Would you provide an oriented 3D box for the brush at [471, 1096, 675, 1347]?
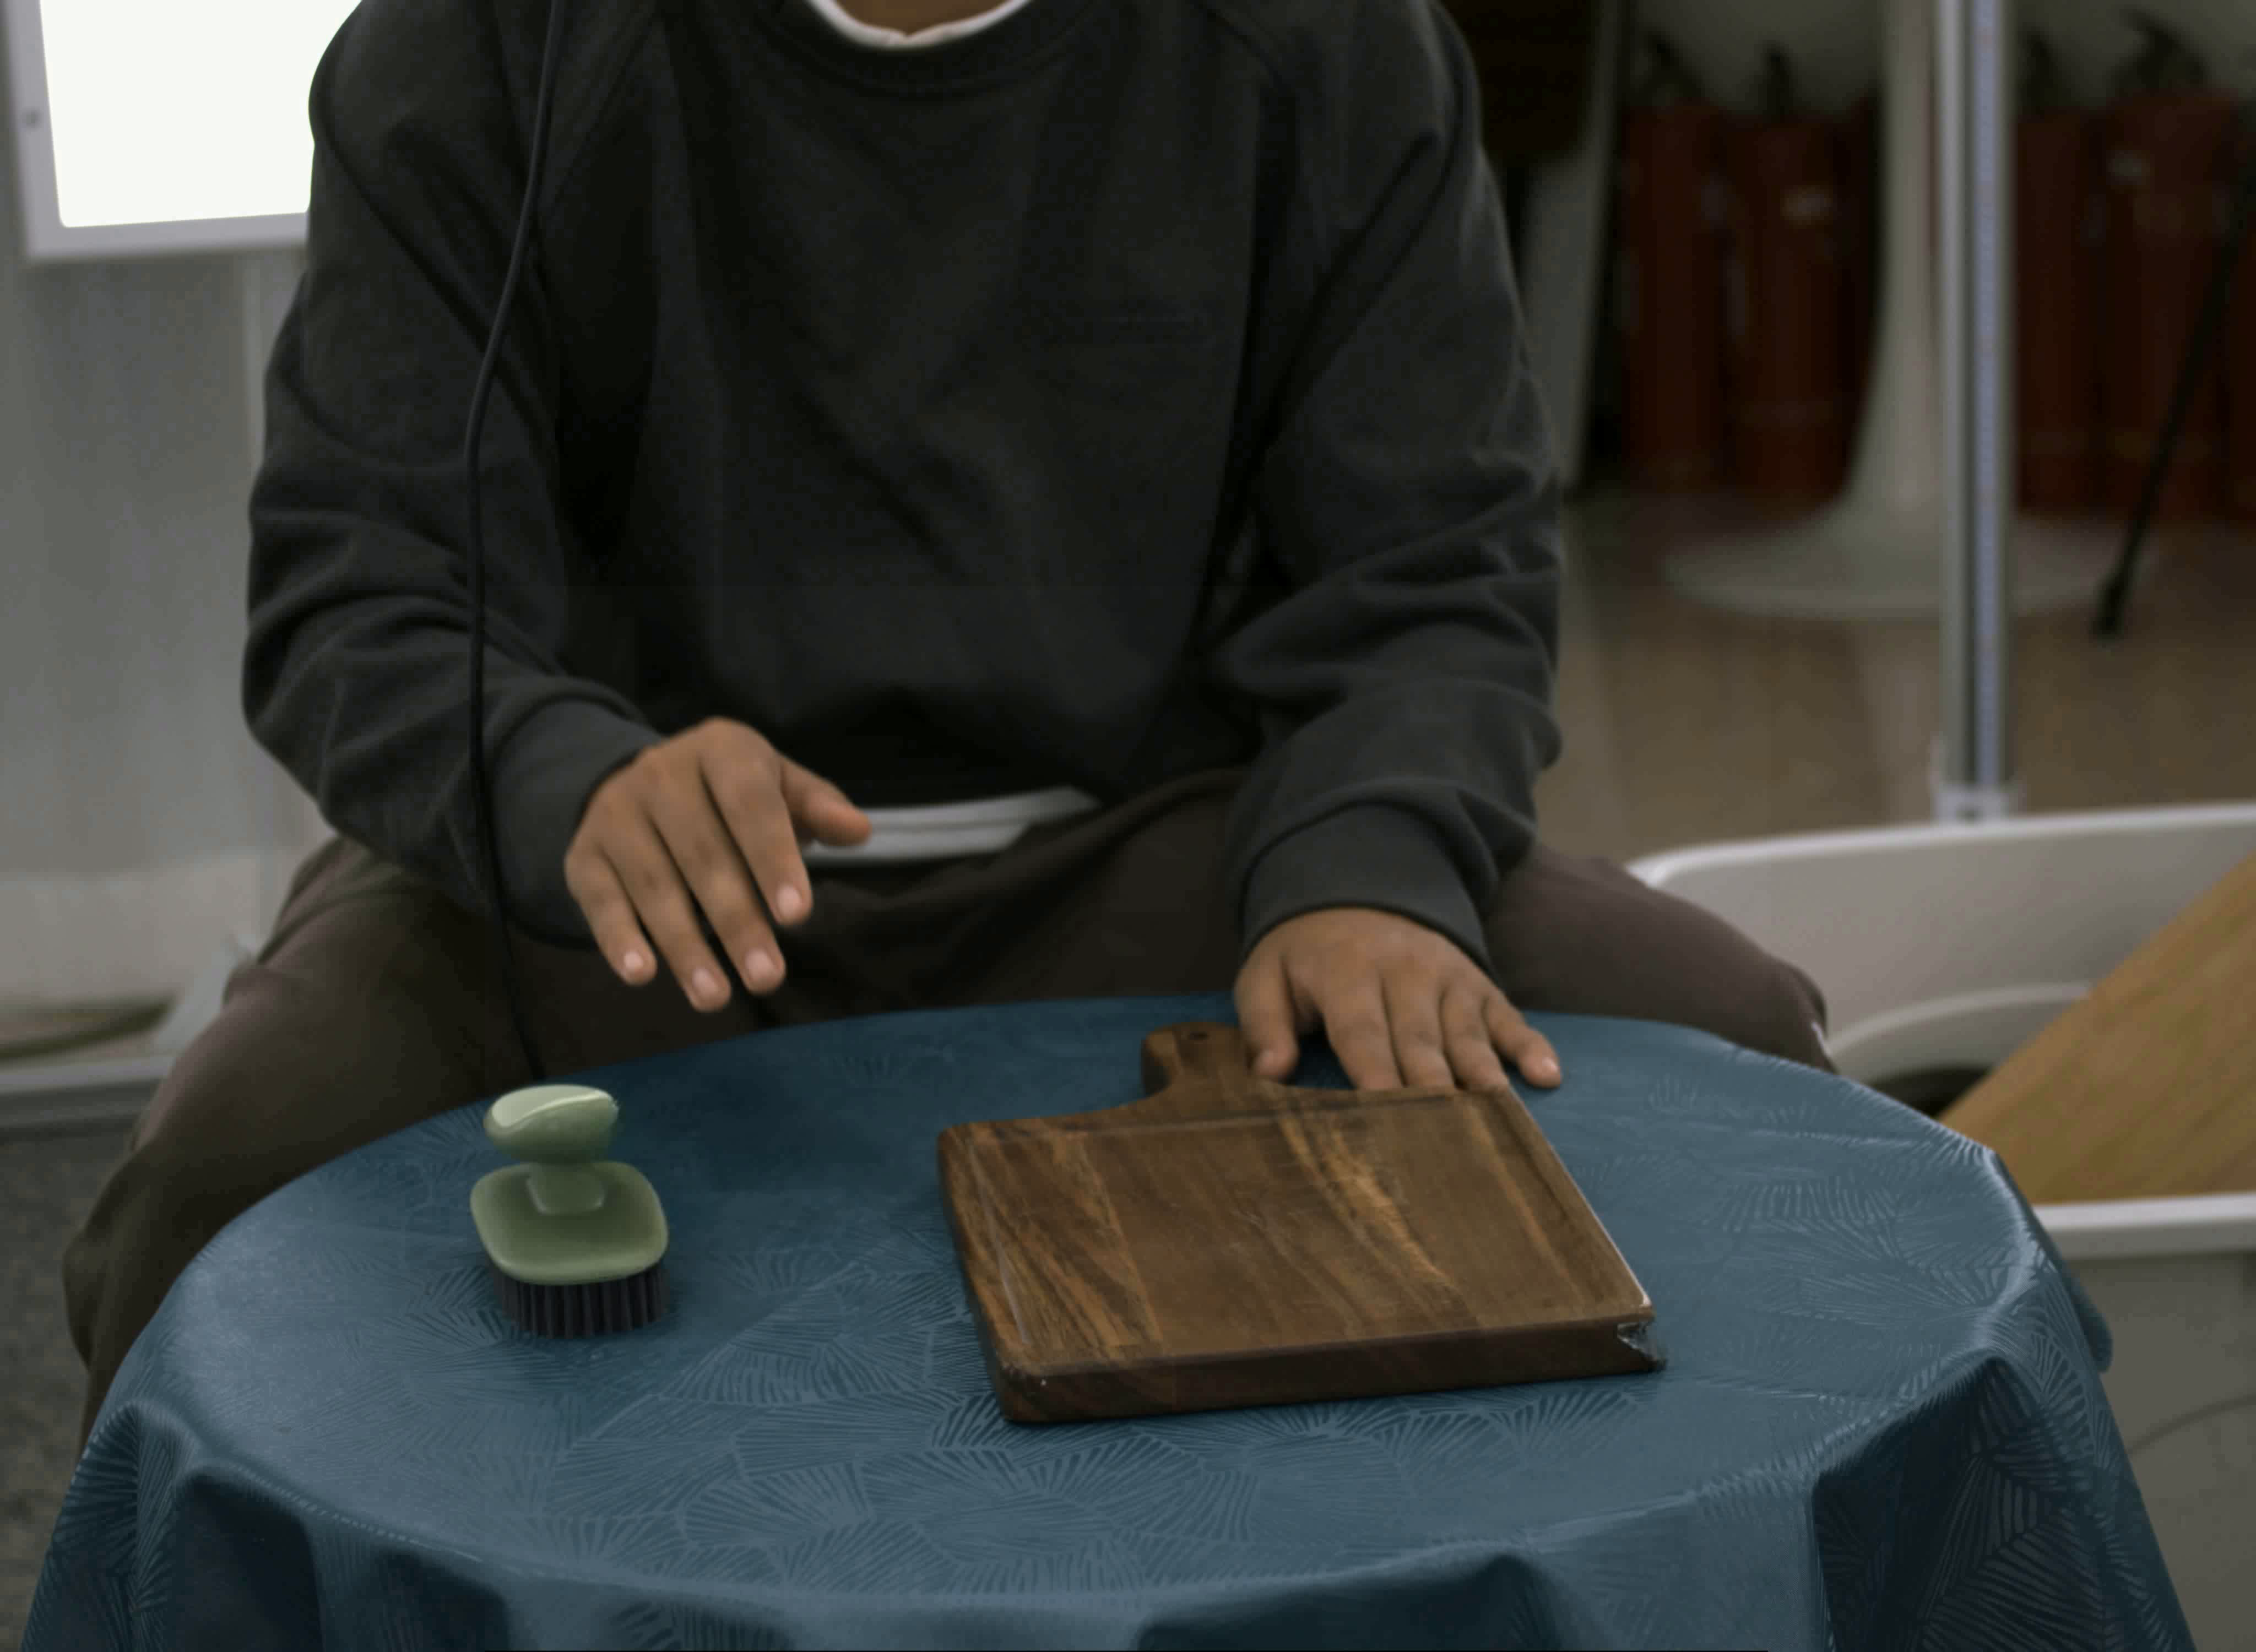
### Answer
[{"bbox_3d":[-0.176,0.123,1.710,0.058,0.077,0.123,-6,0,-13],"label":"brush"}]

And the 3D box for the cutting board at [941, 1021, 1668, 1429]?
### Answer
[{"bbox_3d":[0.043,0.118,1.730,0.198,0.023,0.353,-5,14,-5],"label":"cutting board"}]
